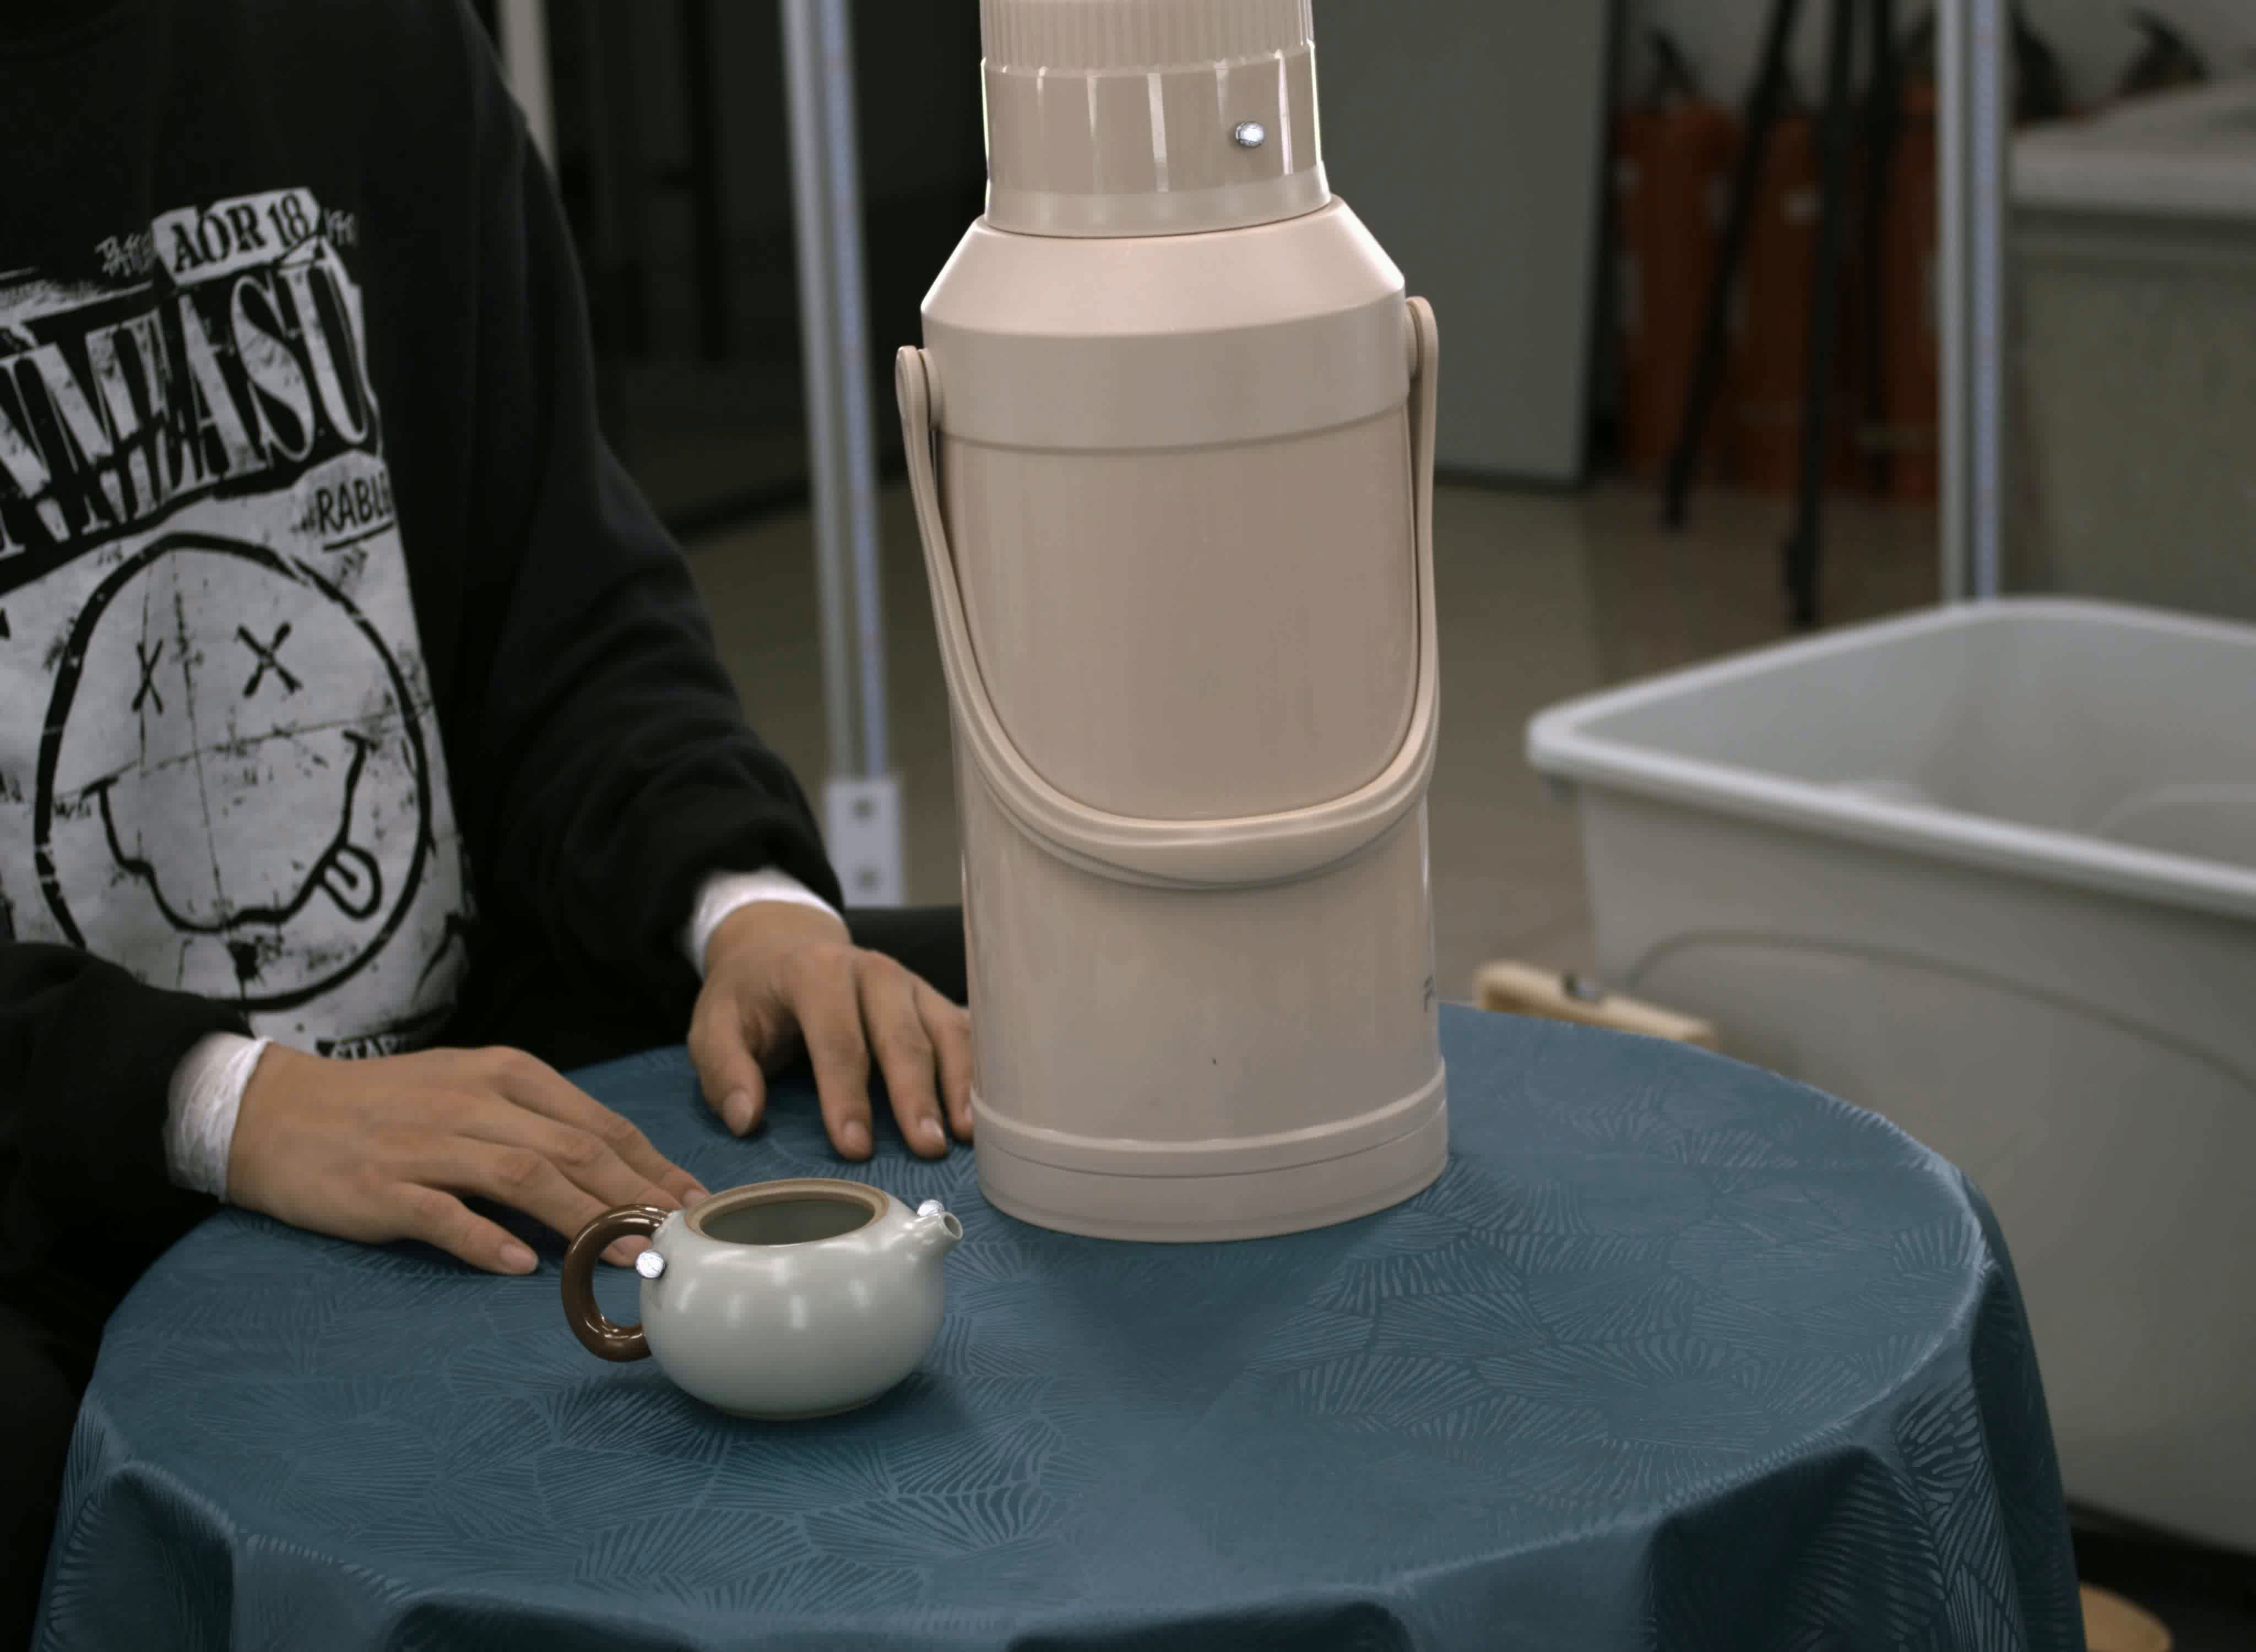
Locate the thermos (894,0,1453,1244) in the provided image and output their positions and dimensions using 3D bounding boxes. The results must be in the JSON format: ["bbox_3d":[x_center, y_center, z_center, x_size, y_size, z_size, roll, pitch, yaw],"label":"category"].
[{"bbox_3d":[0.015,-0.083,1.762,0.172,0.410,0.208,-8,15,-12],"label":"thermos"}]

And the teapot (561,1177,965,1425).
[{"bbox_3d":[-0.108,0.141,1.607,0.127,0.060,0.091,0,17,14],"label":"teapot"}]
